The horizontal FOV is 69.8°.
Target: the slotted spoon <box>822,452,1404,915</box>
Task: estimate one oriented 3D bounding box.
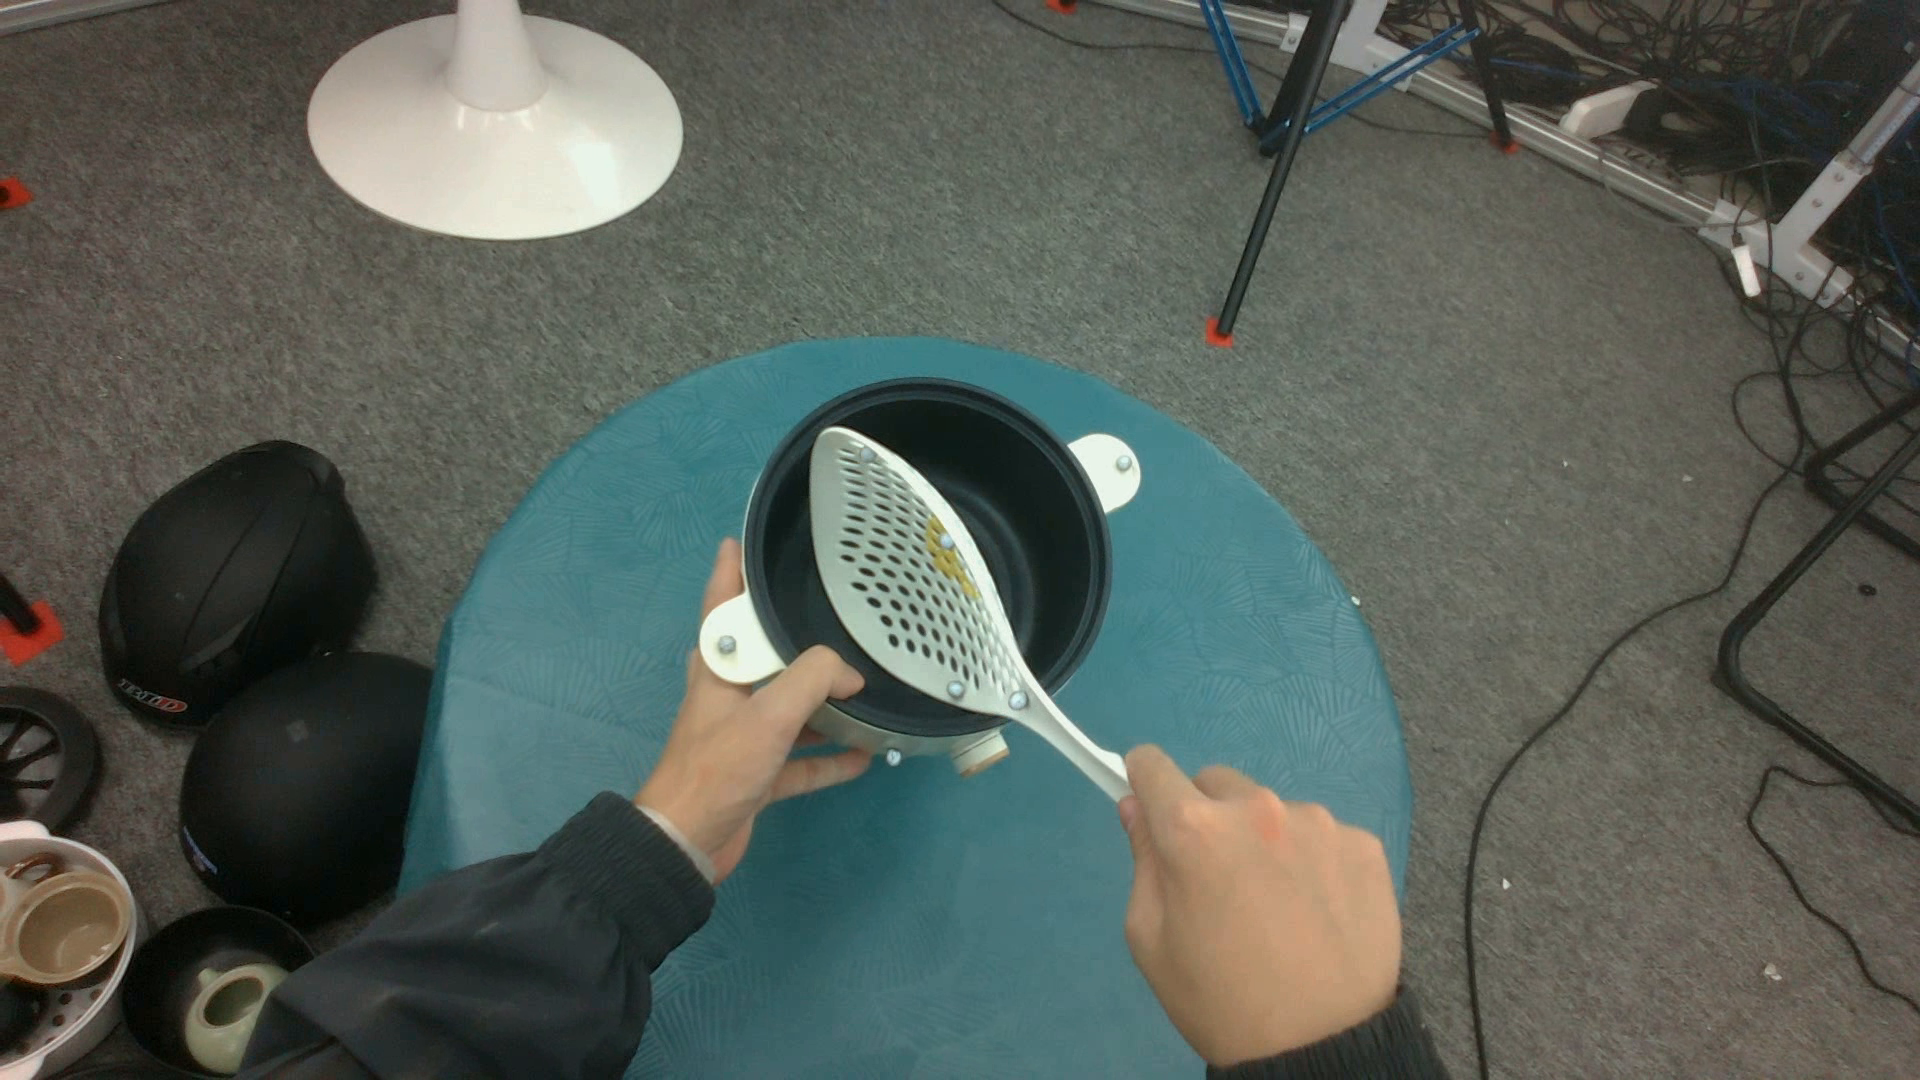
[{"bbox_3d":[0.047,0.068,0.625,0.050,0.136,0.348,-24,43,-27],"label":"slotted spoon"}]

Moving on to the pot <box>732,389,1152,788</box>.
[{"bbox_3d":[-0.009,0.036,0.736,0.241,0.142,0.190,-29,75,-17],"label":"pot"}]
